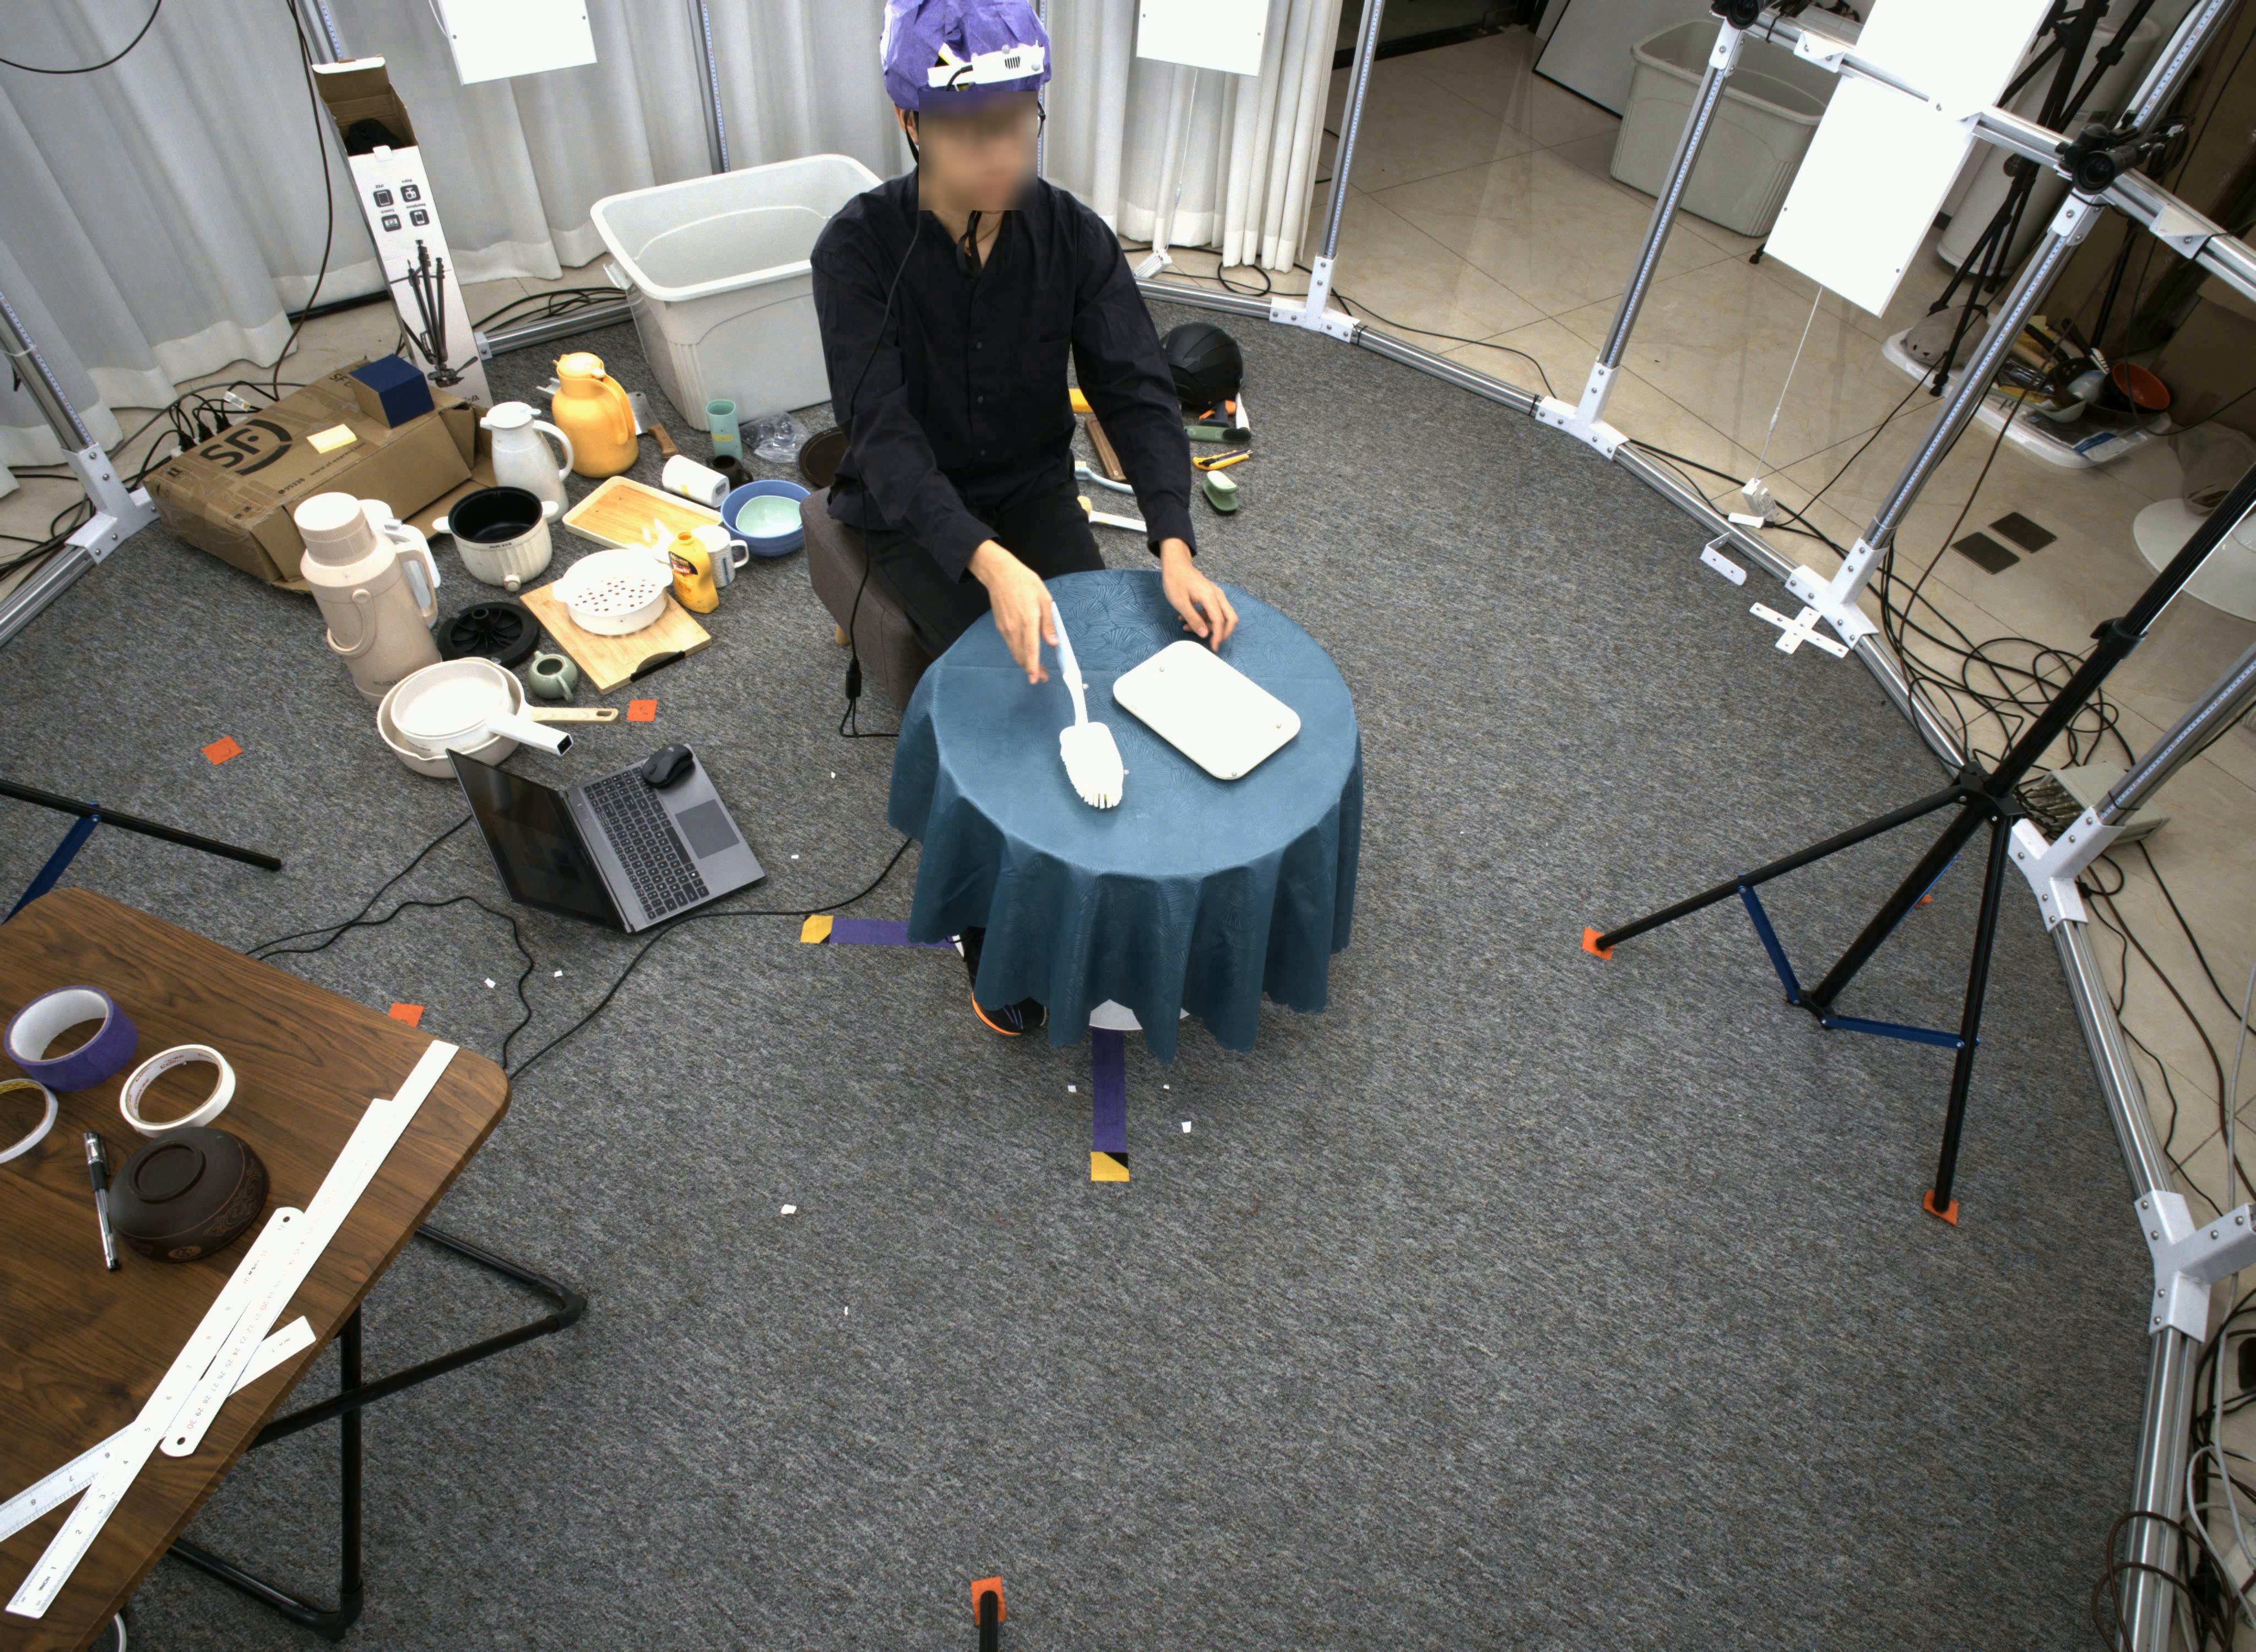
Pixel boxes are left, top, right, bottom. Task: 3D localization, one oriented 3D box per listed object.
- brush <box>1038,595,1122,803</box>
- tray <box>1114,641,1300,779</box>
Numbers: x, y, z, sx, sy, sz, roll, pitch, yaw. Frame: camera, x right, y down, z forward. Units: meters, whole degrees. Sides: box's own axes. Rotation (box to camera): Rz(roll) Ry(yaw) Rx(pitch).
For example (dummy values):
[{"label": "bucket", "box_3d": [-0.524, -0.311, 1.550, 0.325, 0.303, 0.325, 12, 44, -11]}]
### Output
[{"label": "brush", "box_3d": [-0.070, -0.171, 1.757, 0.082, 0.083, 0.332, 11, 51, -45]}, {"label": "tray", "box_3d": [0.110, -0.165, 1.809, 0.173, 0.017, 0.243, -35, 61, -29]}]
